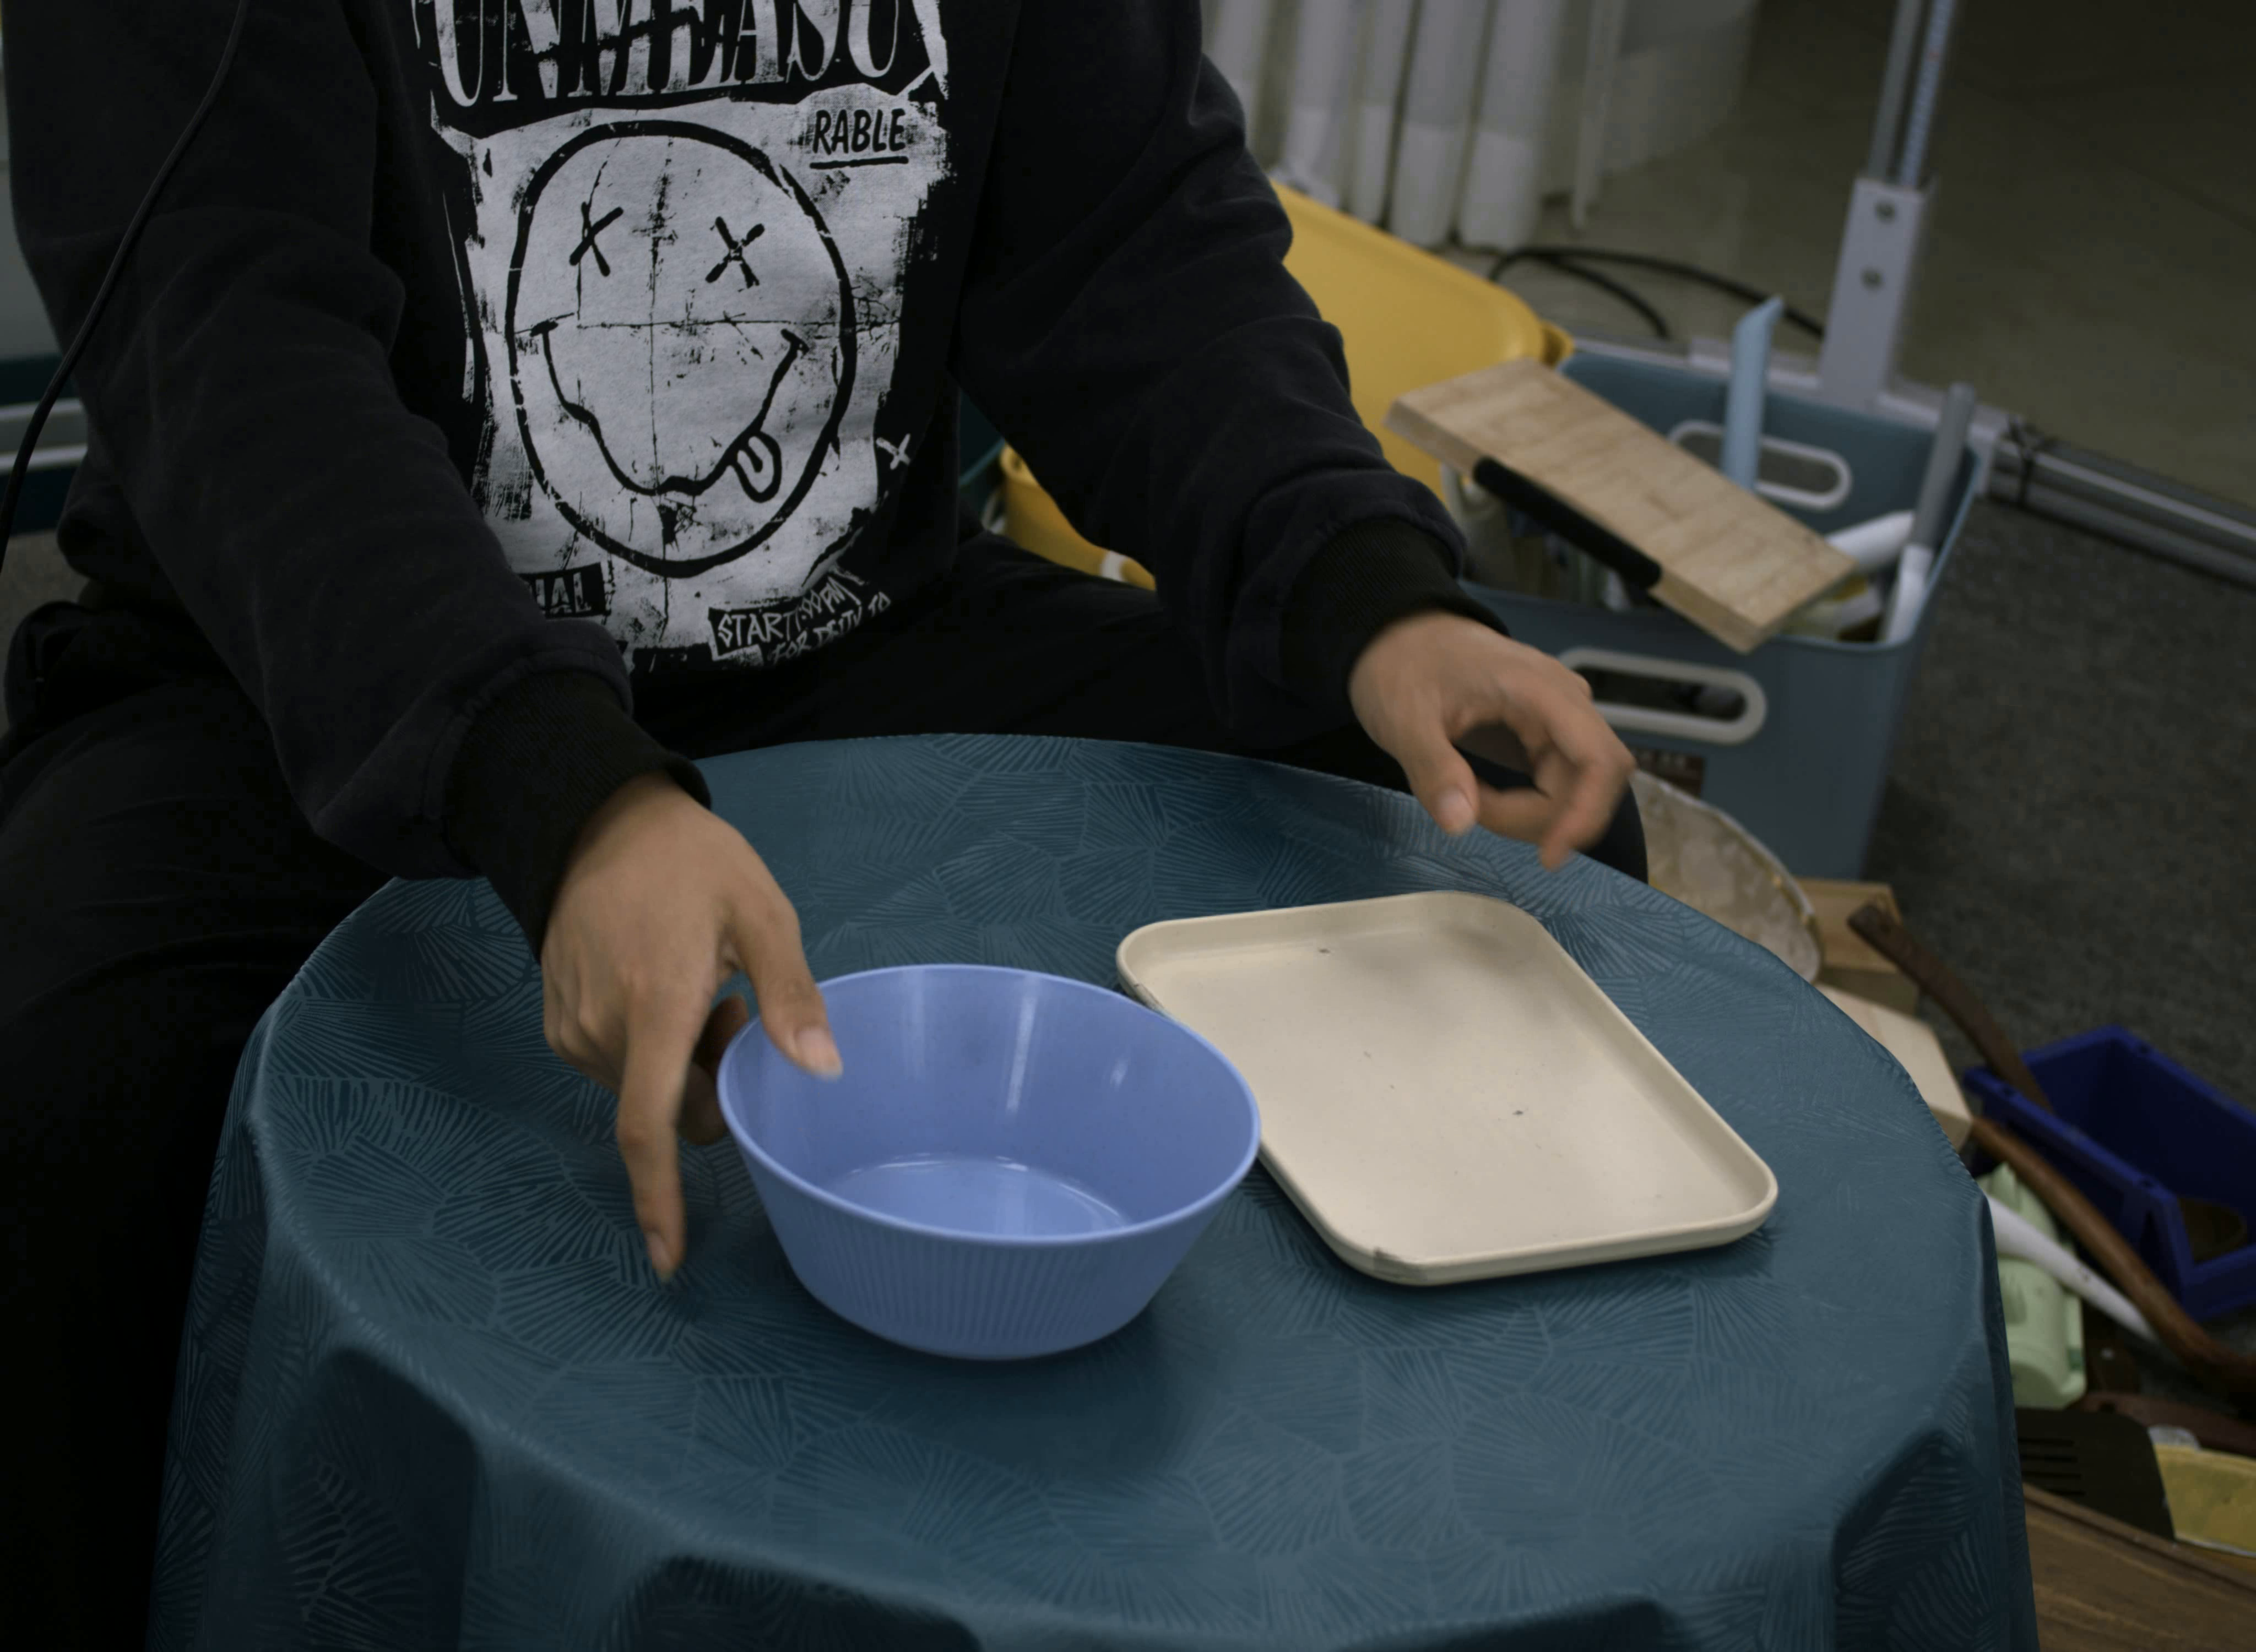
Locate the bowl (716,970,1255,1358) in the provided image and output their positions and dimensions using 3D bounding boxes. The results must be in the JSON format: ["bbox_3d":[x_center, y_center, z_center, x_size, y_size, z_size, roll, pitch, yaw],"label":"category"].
[{"bbox_3d":[-0.049,0.116,1.726,0.175,0.070,0.177,6,26,-3],"label":"bowl"}]

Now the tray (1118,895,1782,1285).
[{"bbox_3d":[0.109,0.091,1.869,0.170,0.017,0.242,-5,29,-23],"label":"tray"}]
